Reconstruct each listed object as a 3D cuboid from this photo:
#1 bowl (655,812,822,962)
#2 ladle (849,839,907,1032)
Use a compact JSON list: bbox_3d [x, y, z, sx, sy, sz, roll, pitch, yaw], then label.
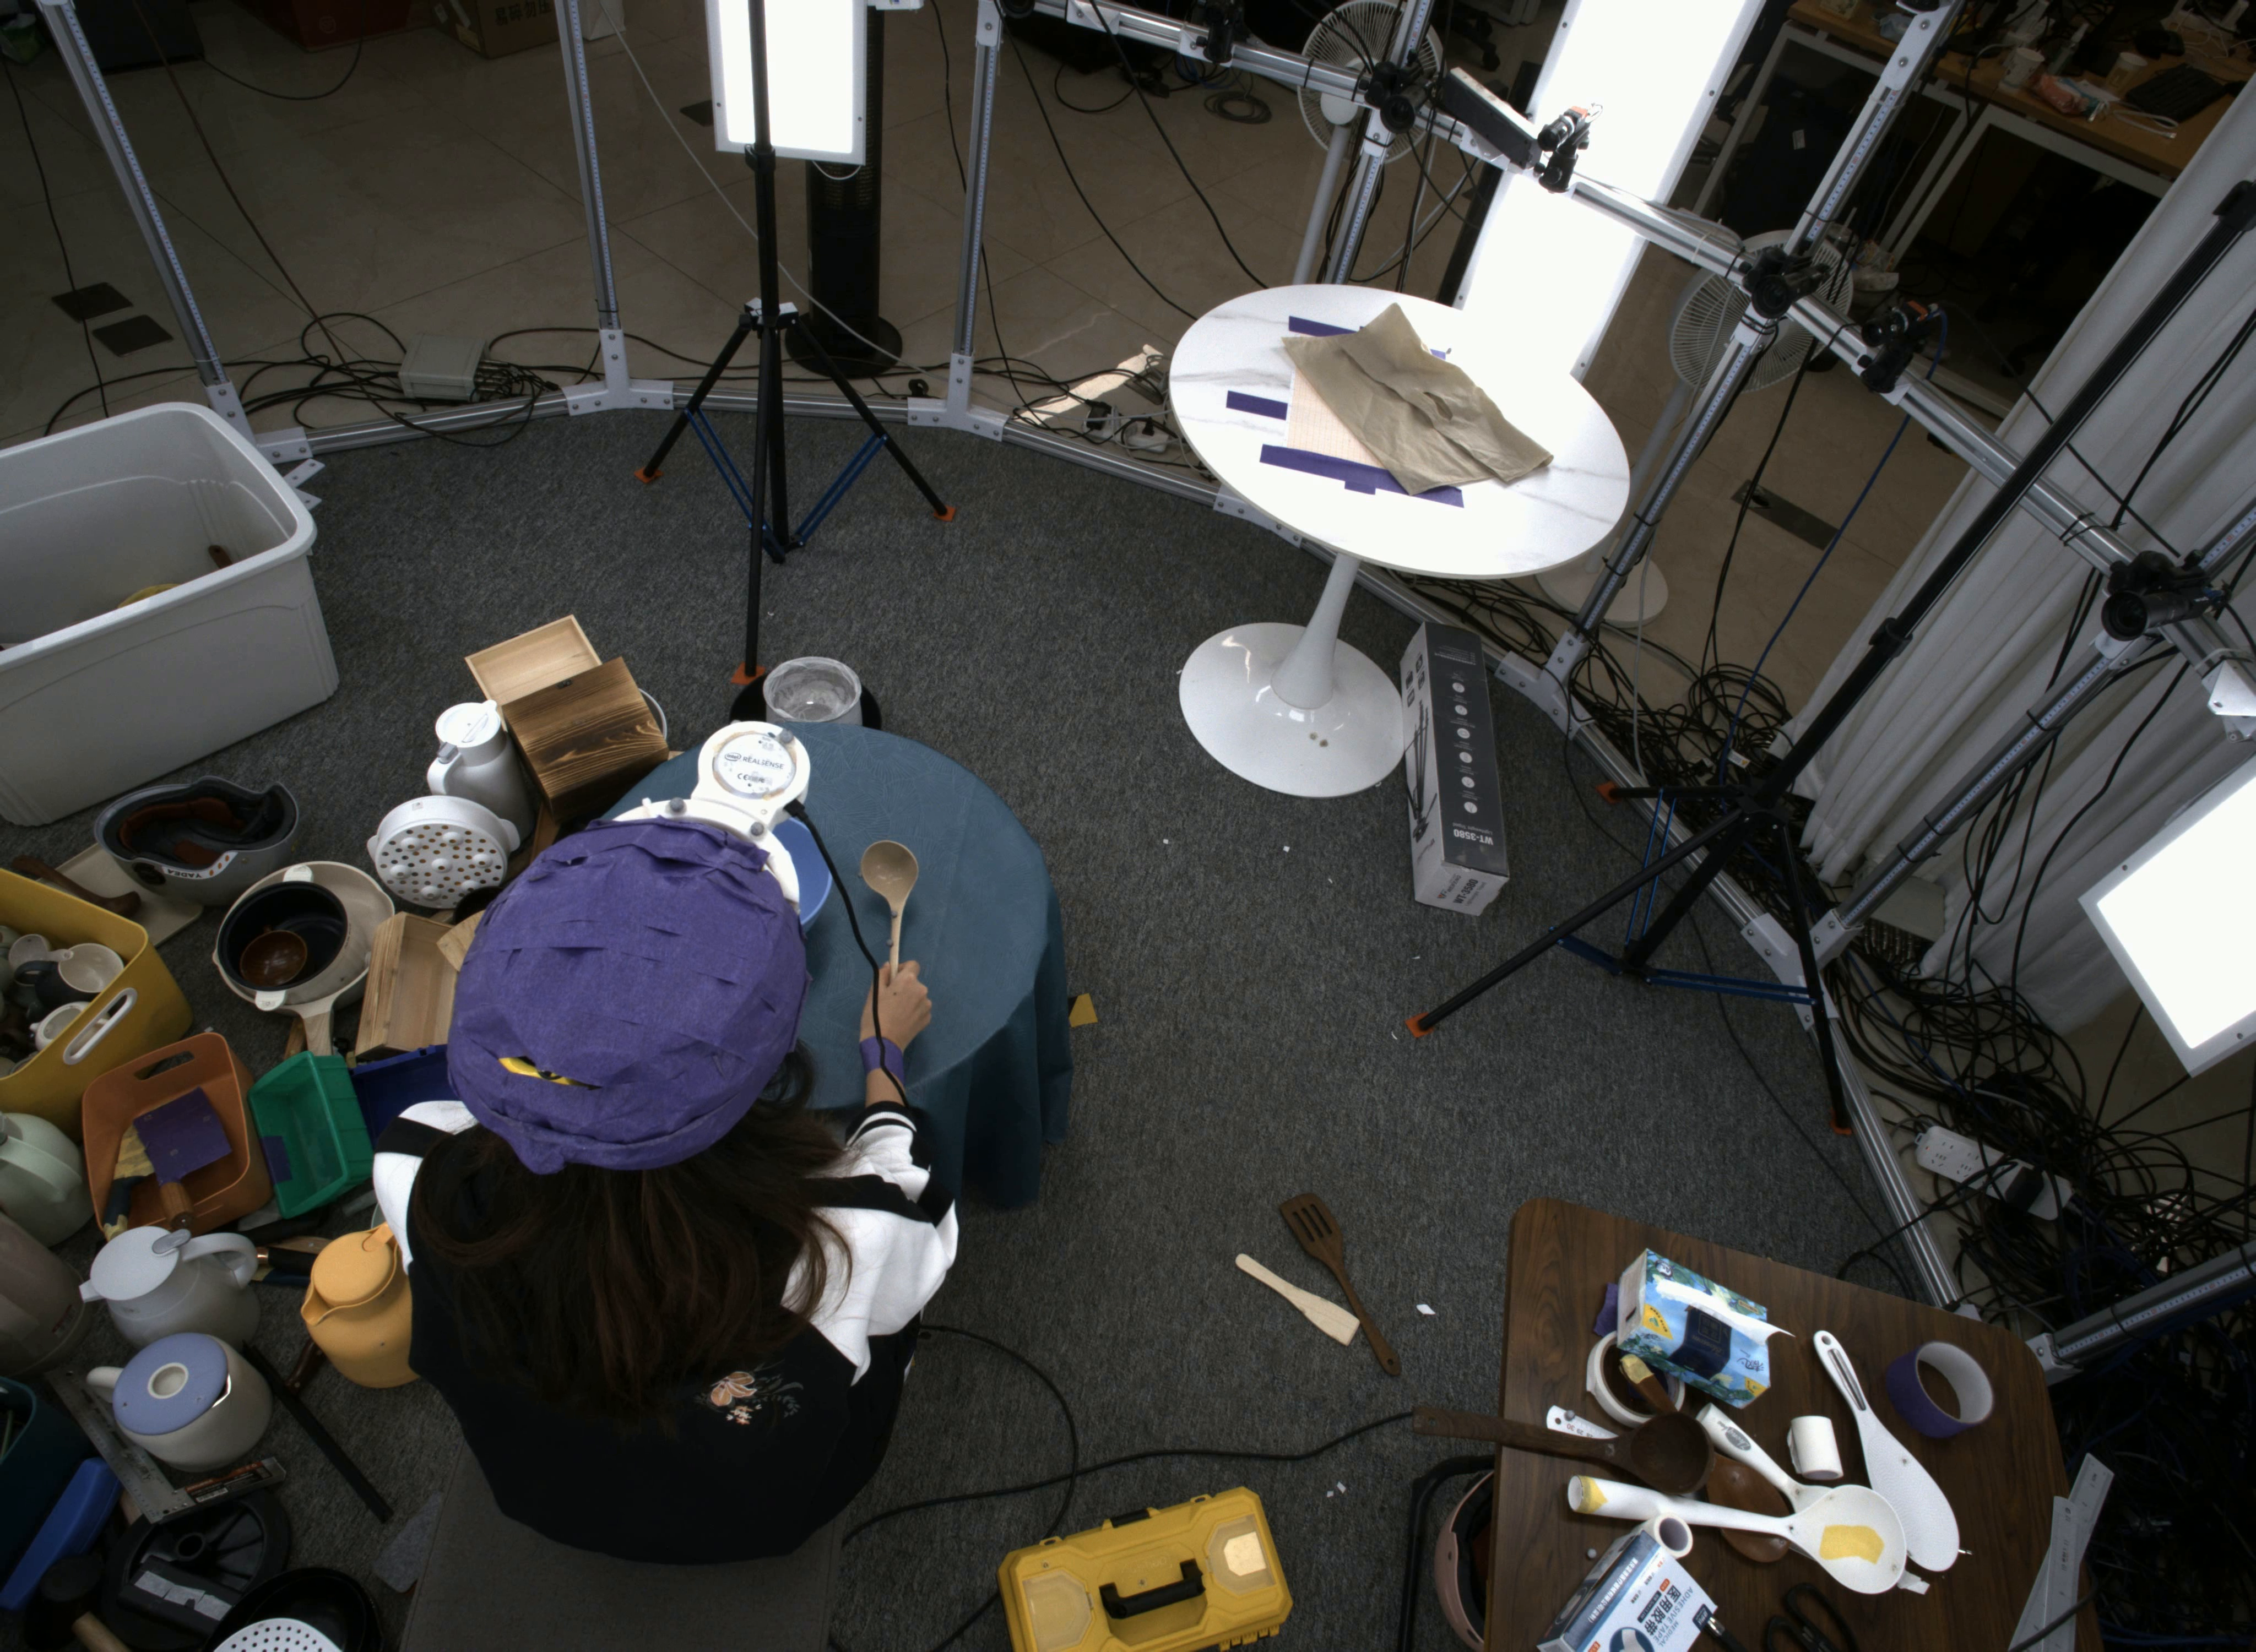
[{"bbox_3d":[-0.474,0.088,1.583,0.196,0.097,0.193,9,52,-10],"label":"bowl"},{"bbox_3d":[-0.299,0.122,1.566,0.071,0.075,0.248,-15,48,4],"label":"ladle"}]
